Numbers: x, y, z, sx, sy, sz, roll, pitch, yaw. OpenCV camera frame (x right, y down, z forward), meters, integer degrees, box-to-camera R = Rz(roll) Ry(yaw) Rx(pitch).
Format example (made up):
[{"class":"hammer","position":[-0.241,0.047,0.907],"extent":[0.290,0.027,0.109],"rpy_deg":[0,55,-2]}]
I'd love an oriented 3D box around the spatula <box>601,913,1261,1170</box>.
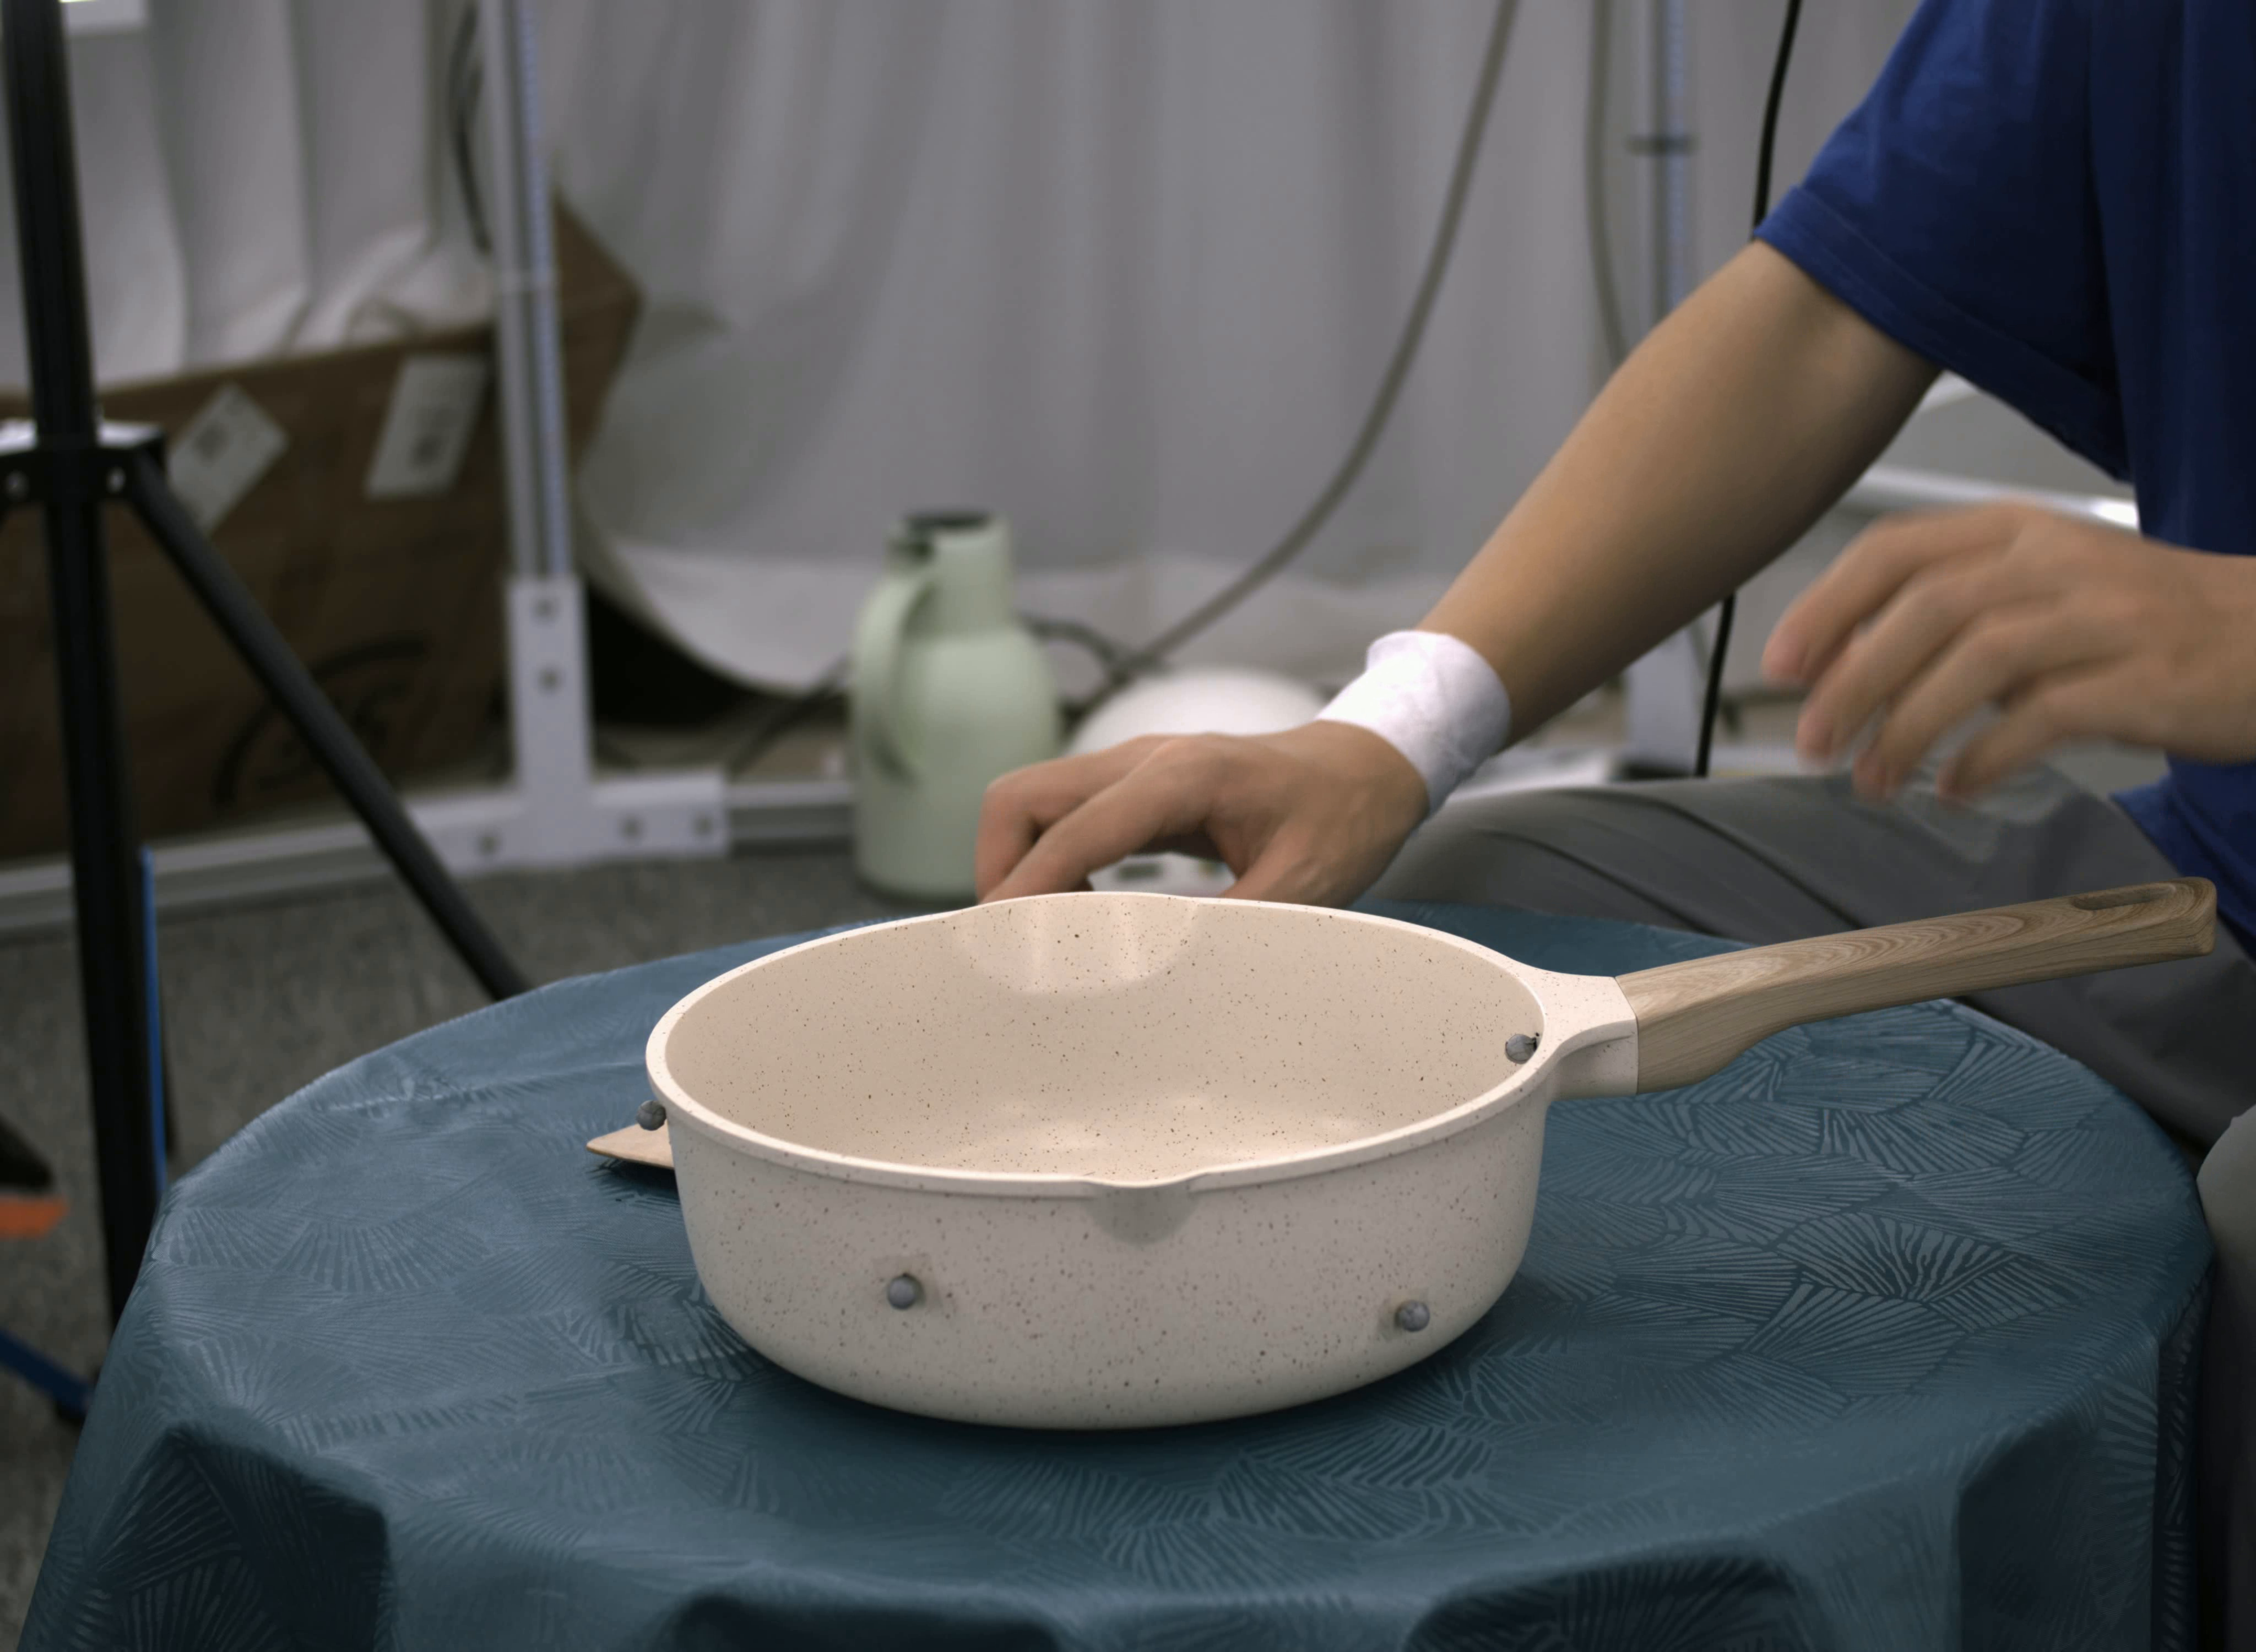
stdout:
[{"class":"spatula","position":[-0.049,0.068,1.689],"extent":[0.074,0.010,0.287],"rpy_deg":[8,19,36]}]

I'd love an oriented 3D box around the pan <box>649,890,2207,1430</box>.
[{"class":"pan","position":[0.087,0.082,1.455],"extent":[0.431,0.102,0.265],"rpy_deg":[-3,14,-4]}]
